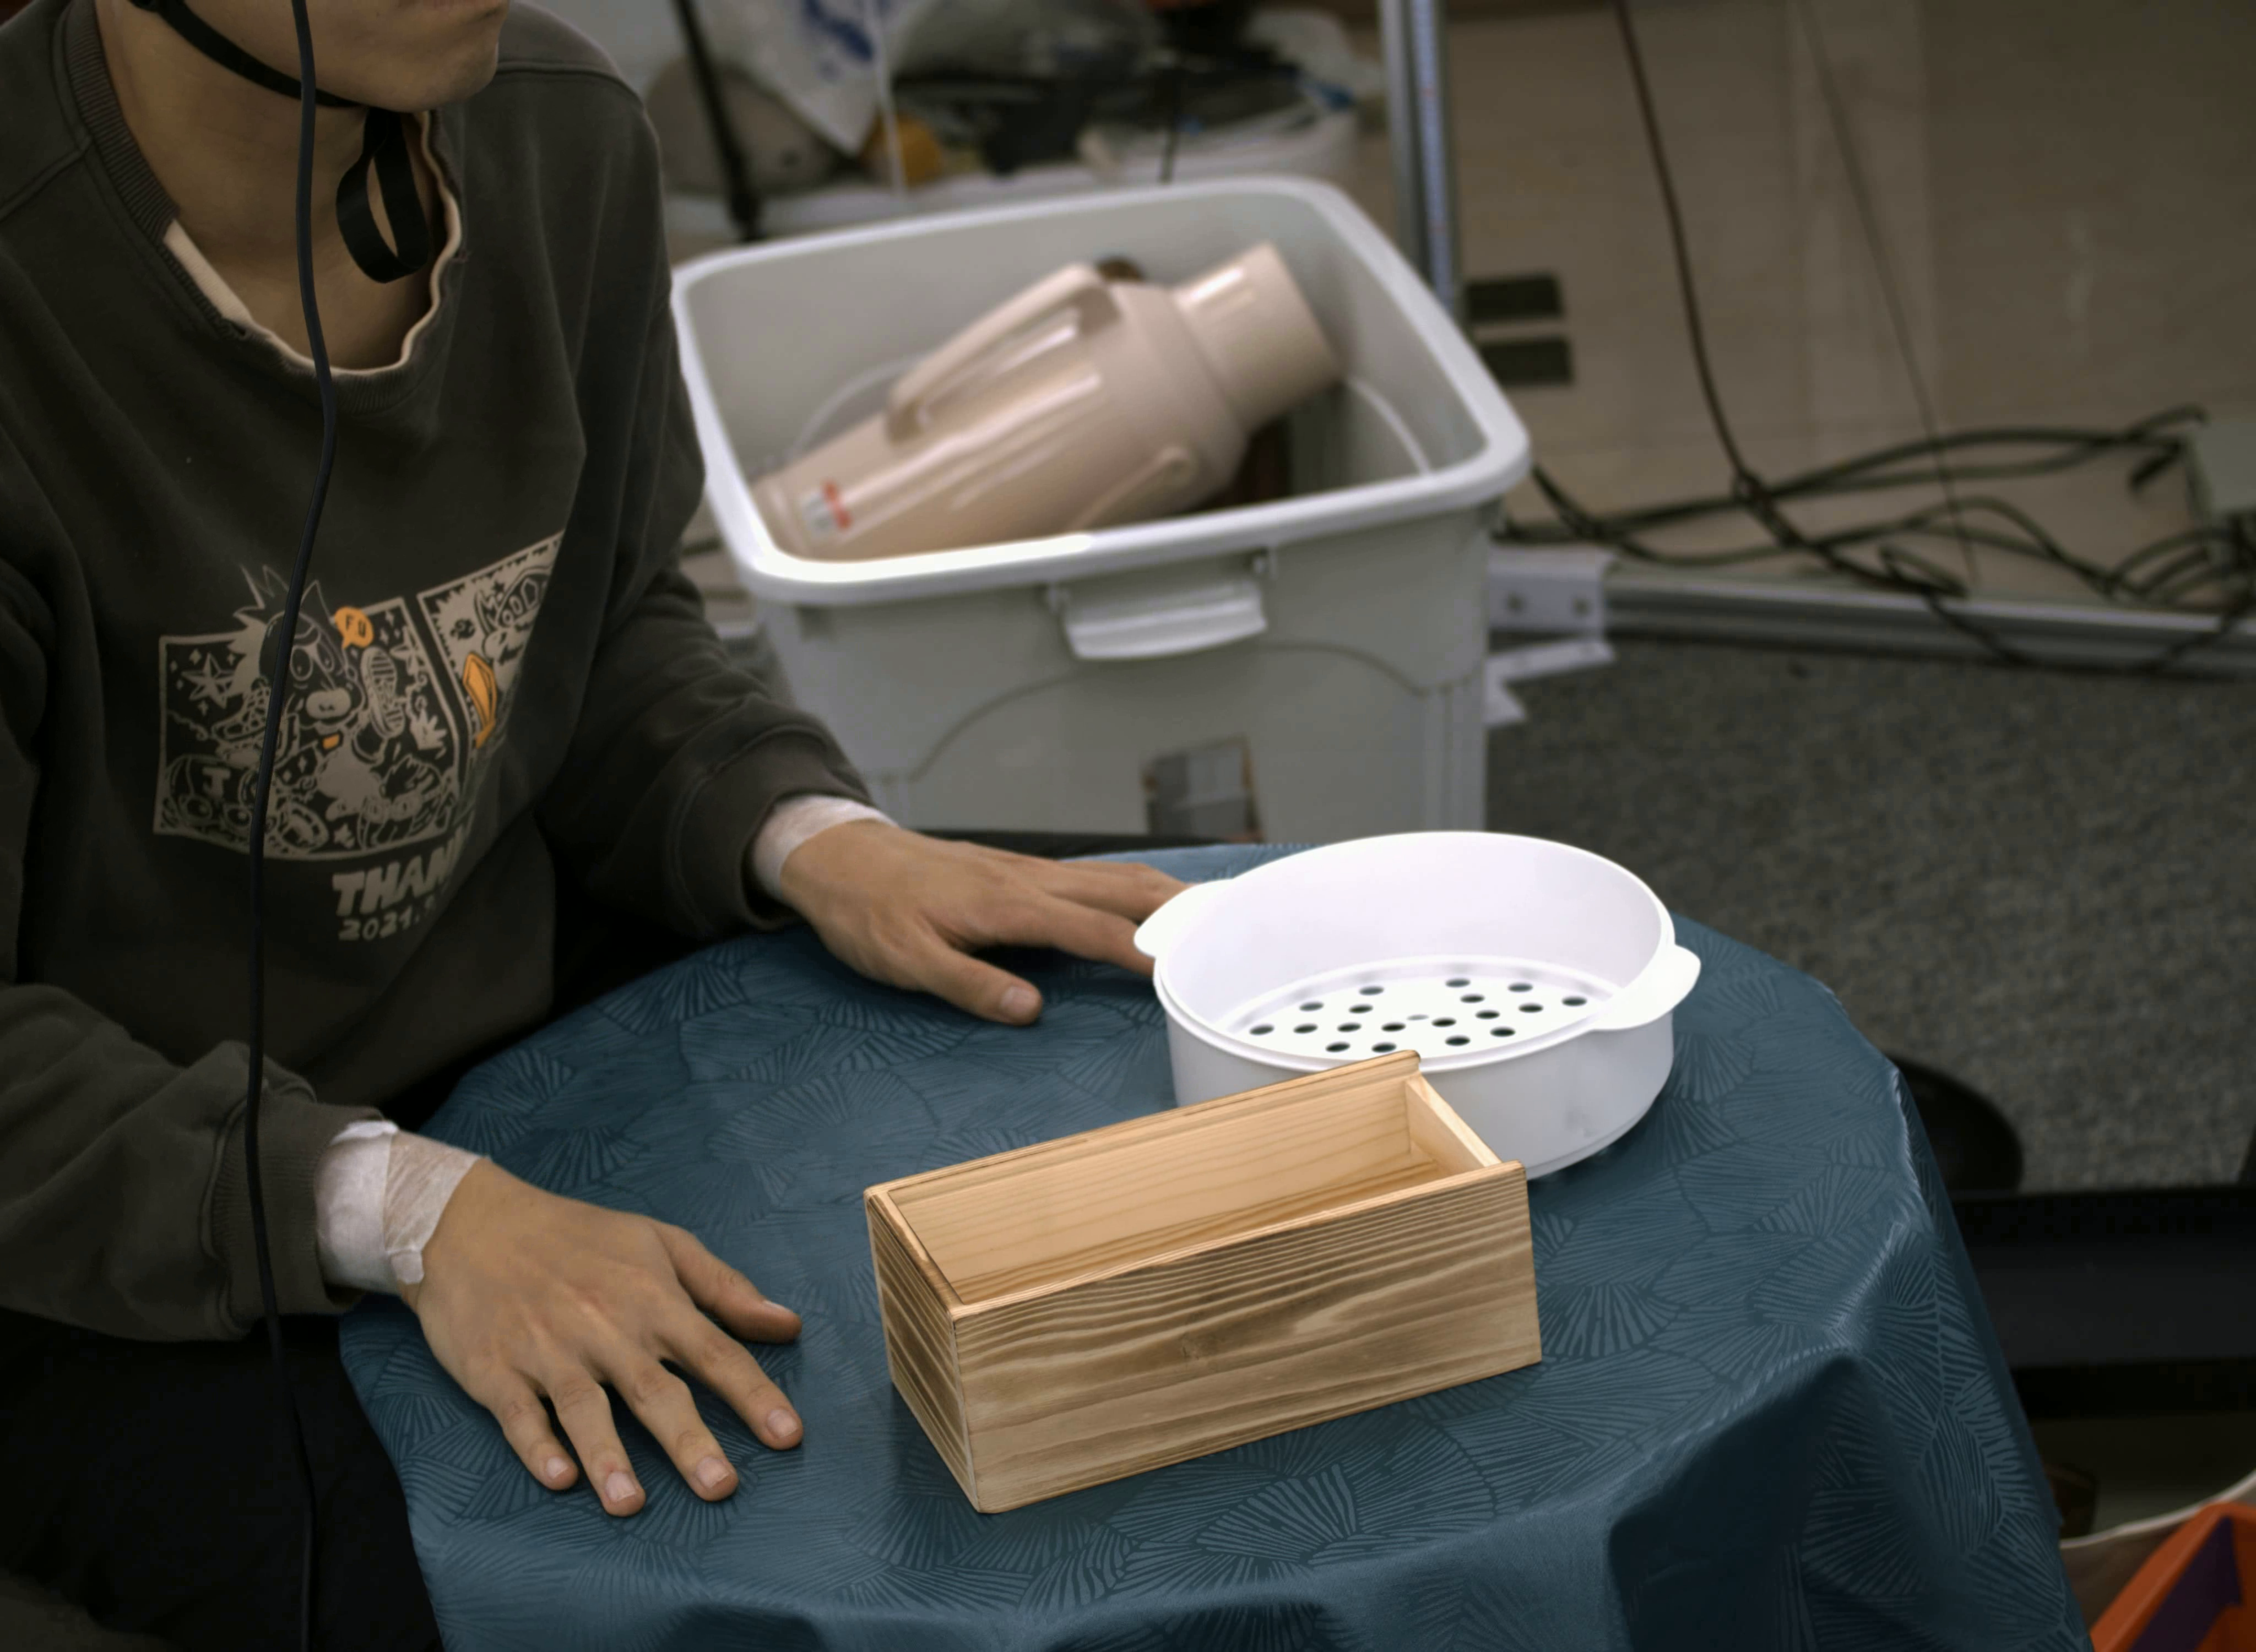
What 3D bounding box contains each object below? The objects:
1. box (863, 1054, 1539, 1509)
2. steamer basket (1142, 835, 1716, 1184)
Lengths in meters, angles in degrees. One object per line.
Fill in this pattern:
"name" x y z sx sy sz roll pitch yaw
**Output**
"box" 0.025 0.158 2.002 0.211 0.081 0.106 -14 26 -15
"steamer basket" 0.116 0.074 2.176 0.229 0.070 0.199 8 28 30
